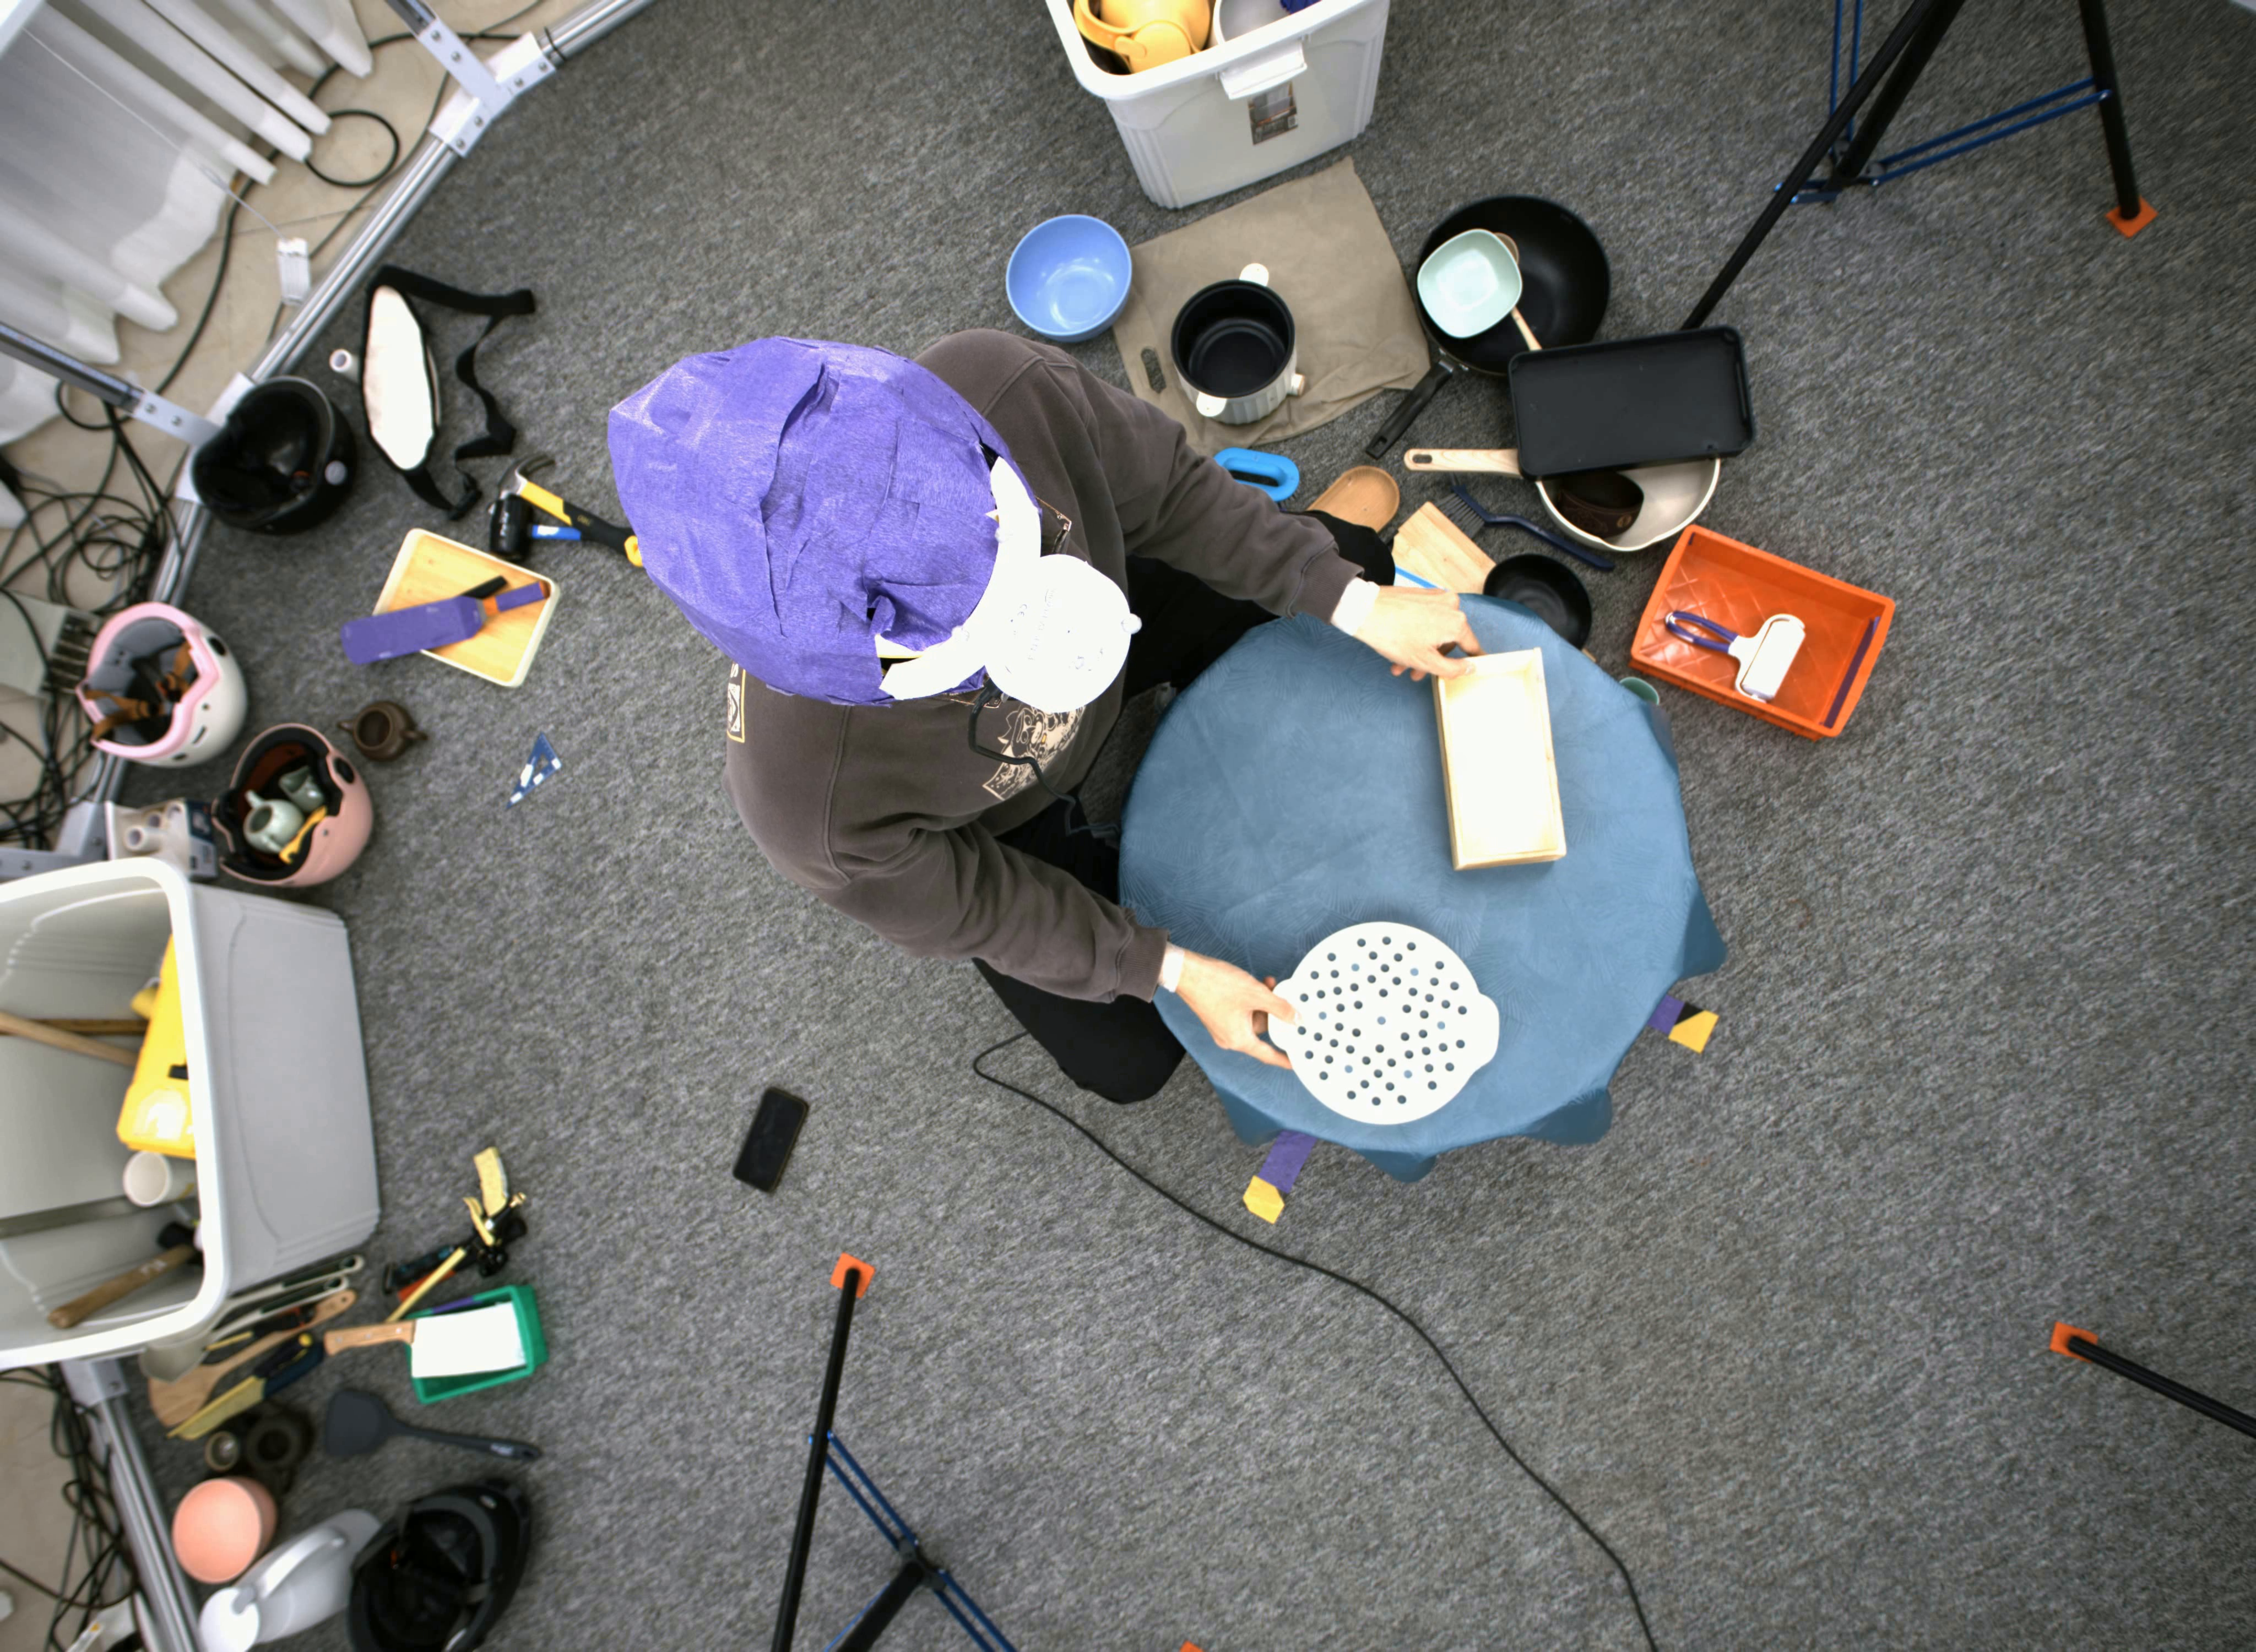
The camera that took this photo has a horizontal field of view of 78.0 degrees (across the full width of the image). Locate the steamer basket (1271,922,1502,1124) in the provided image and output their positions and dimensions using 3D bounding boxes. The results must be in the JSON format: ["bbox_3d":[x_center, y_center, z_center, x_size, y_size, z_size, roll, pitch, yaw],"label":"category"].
[{"bbox_3d":[0.264,0.199,1.418,0.231,0.069,0.201,3,87,12],"label":"steamer basket"}]

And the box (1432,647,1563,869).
[{"bbox_3d":[0.376,-0.069,1.404,0.108,0.080,0.210,-6,86,10],"label":"box"}]
